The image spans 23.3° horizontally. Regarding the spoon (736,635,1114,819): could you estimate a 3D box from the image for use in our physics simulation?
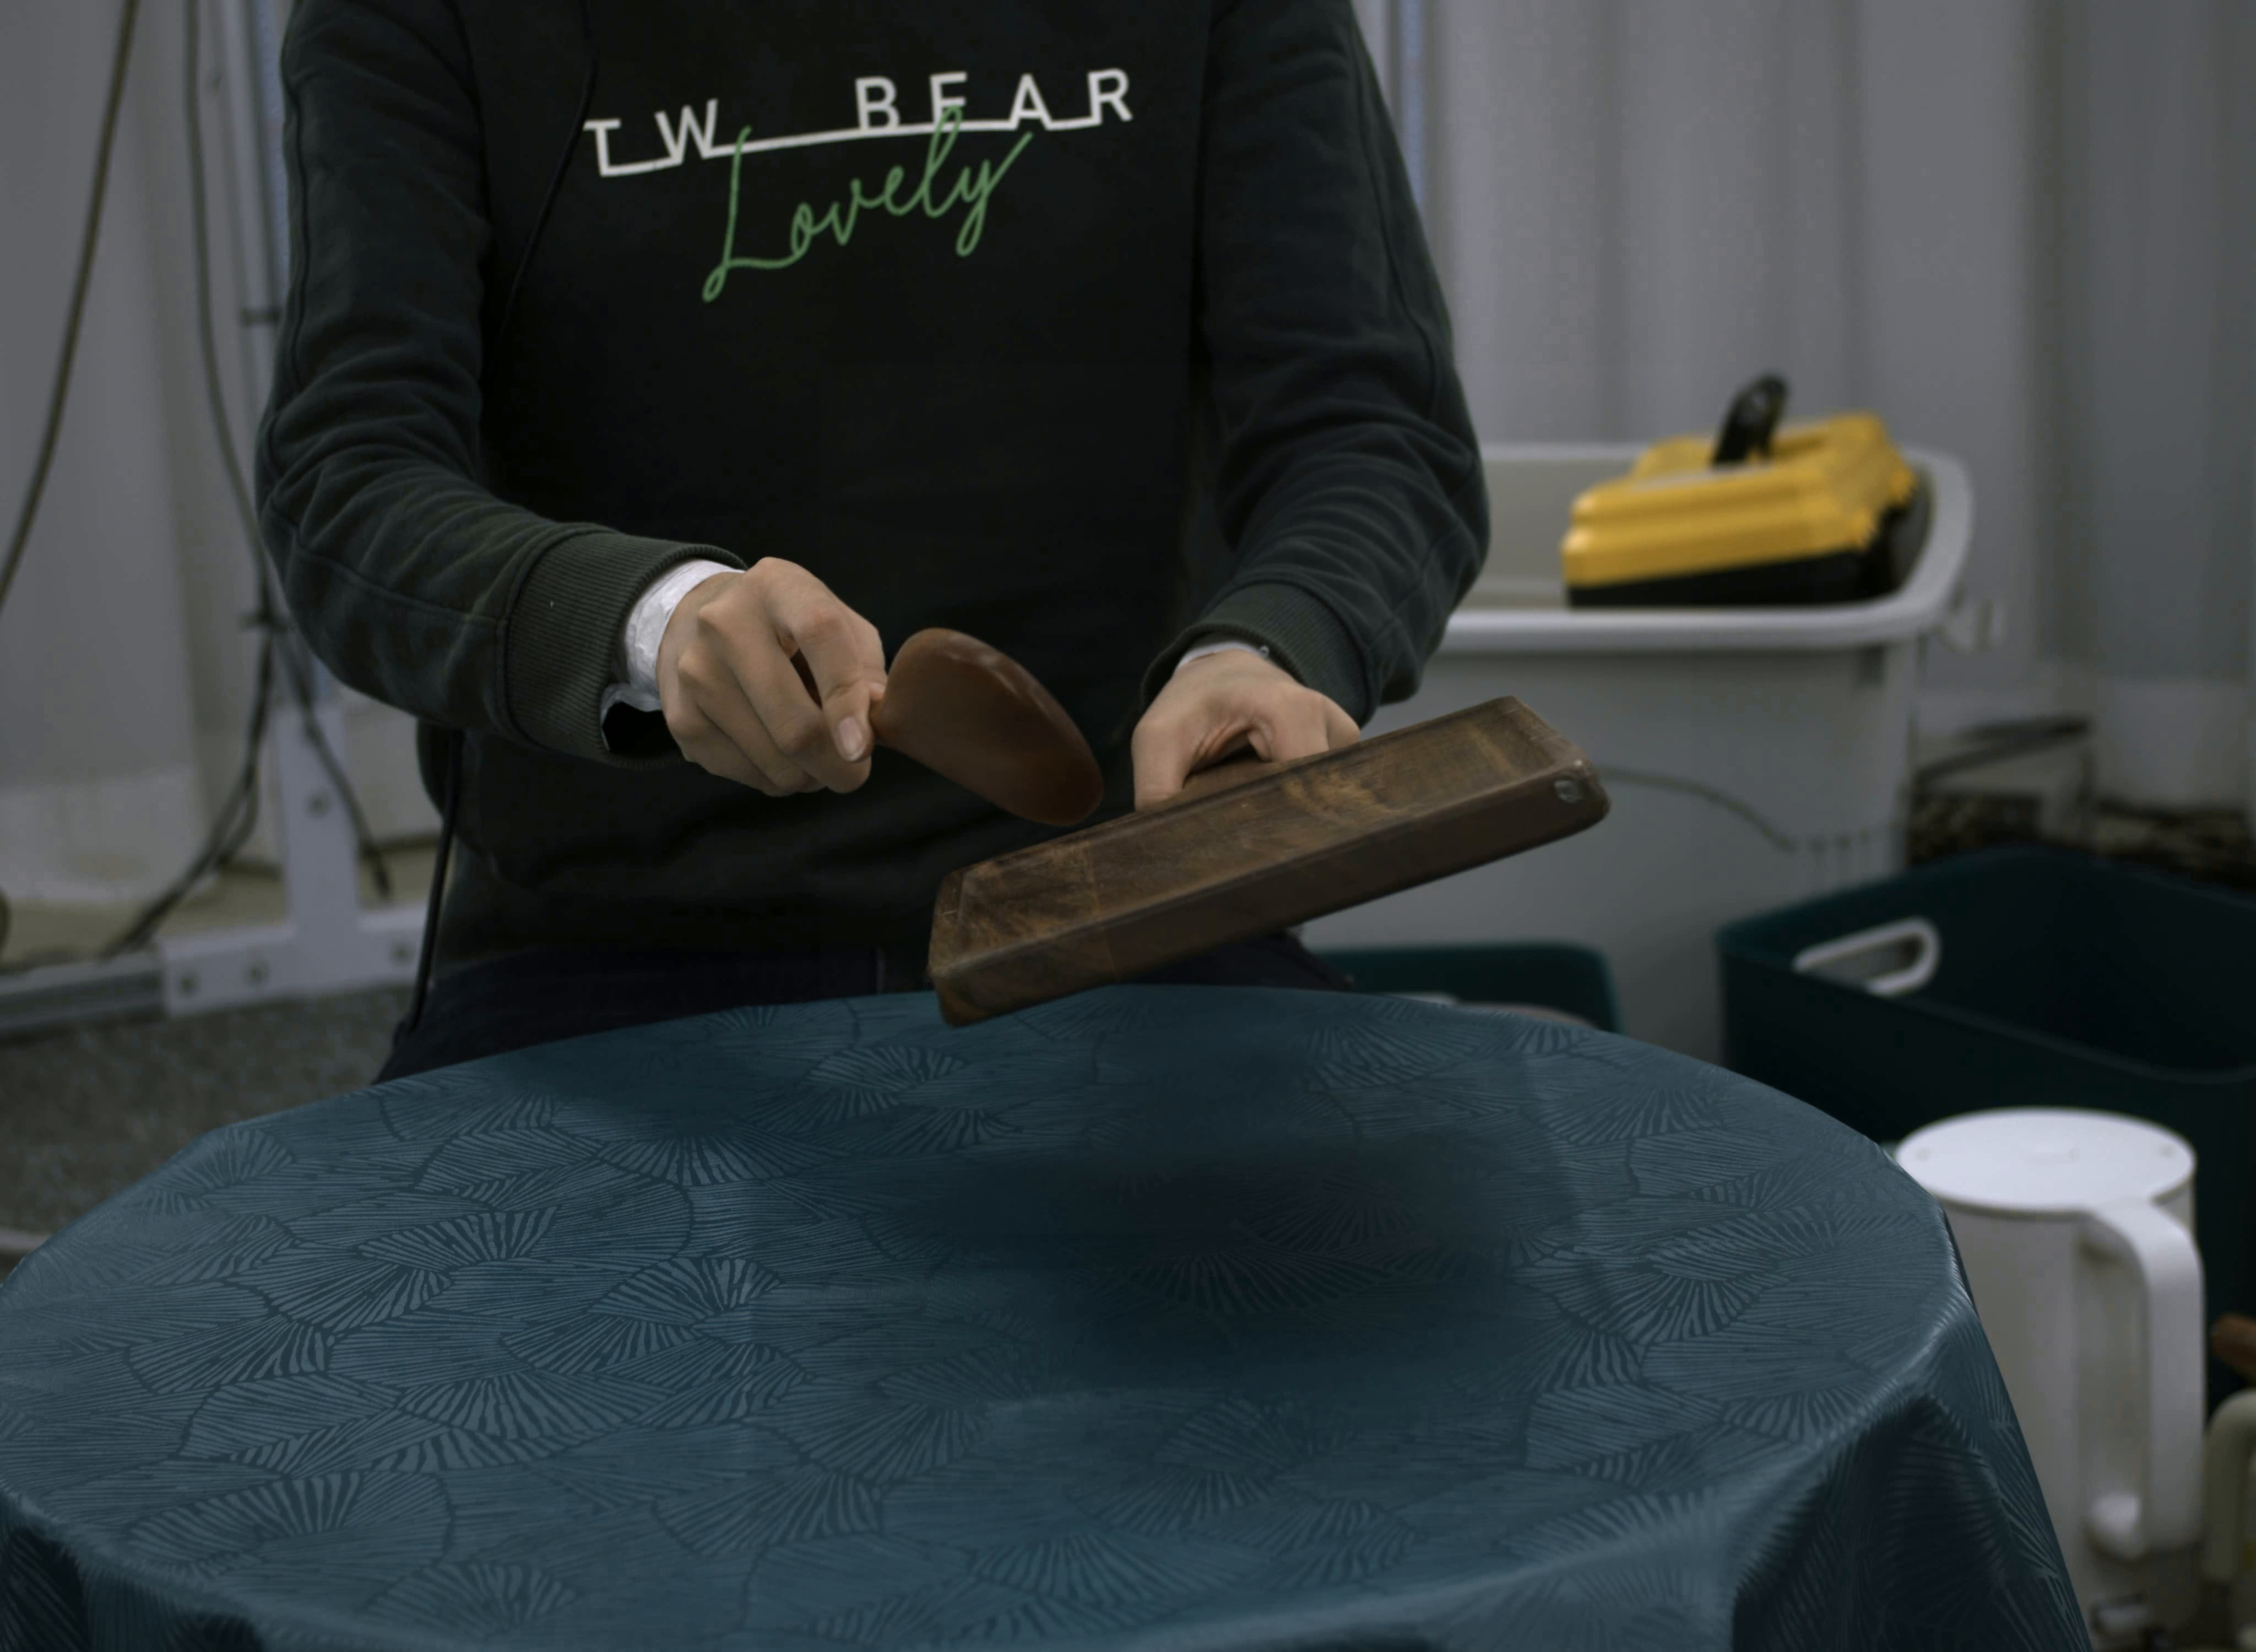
[{"bbox_3d":[-0.070,-0.031,1.687,0.017,0.075,0.217,-48,23,-17],"label":"spoon"}]

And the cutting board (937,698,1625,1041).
[{"bbox_3d":[0.038,0.005,1.682,0.200,0.023,0.353,-19,5,0],"label":"cutting board"}]
